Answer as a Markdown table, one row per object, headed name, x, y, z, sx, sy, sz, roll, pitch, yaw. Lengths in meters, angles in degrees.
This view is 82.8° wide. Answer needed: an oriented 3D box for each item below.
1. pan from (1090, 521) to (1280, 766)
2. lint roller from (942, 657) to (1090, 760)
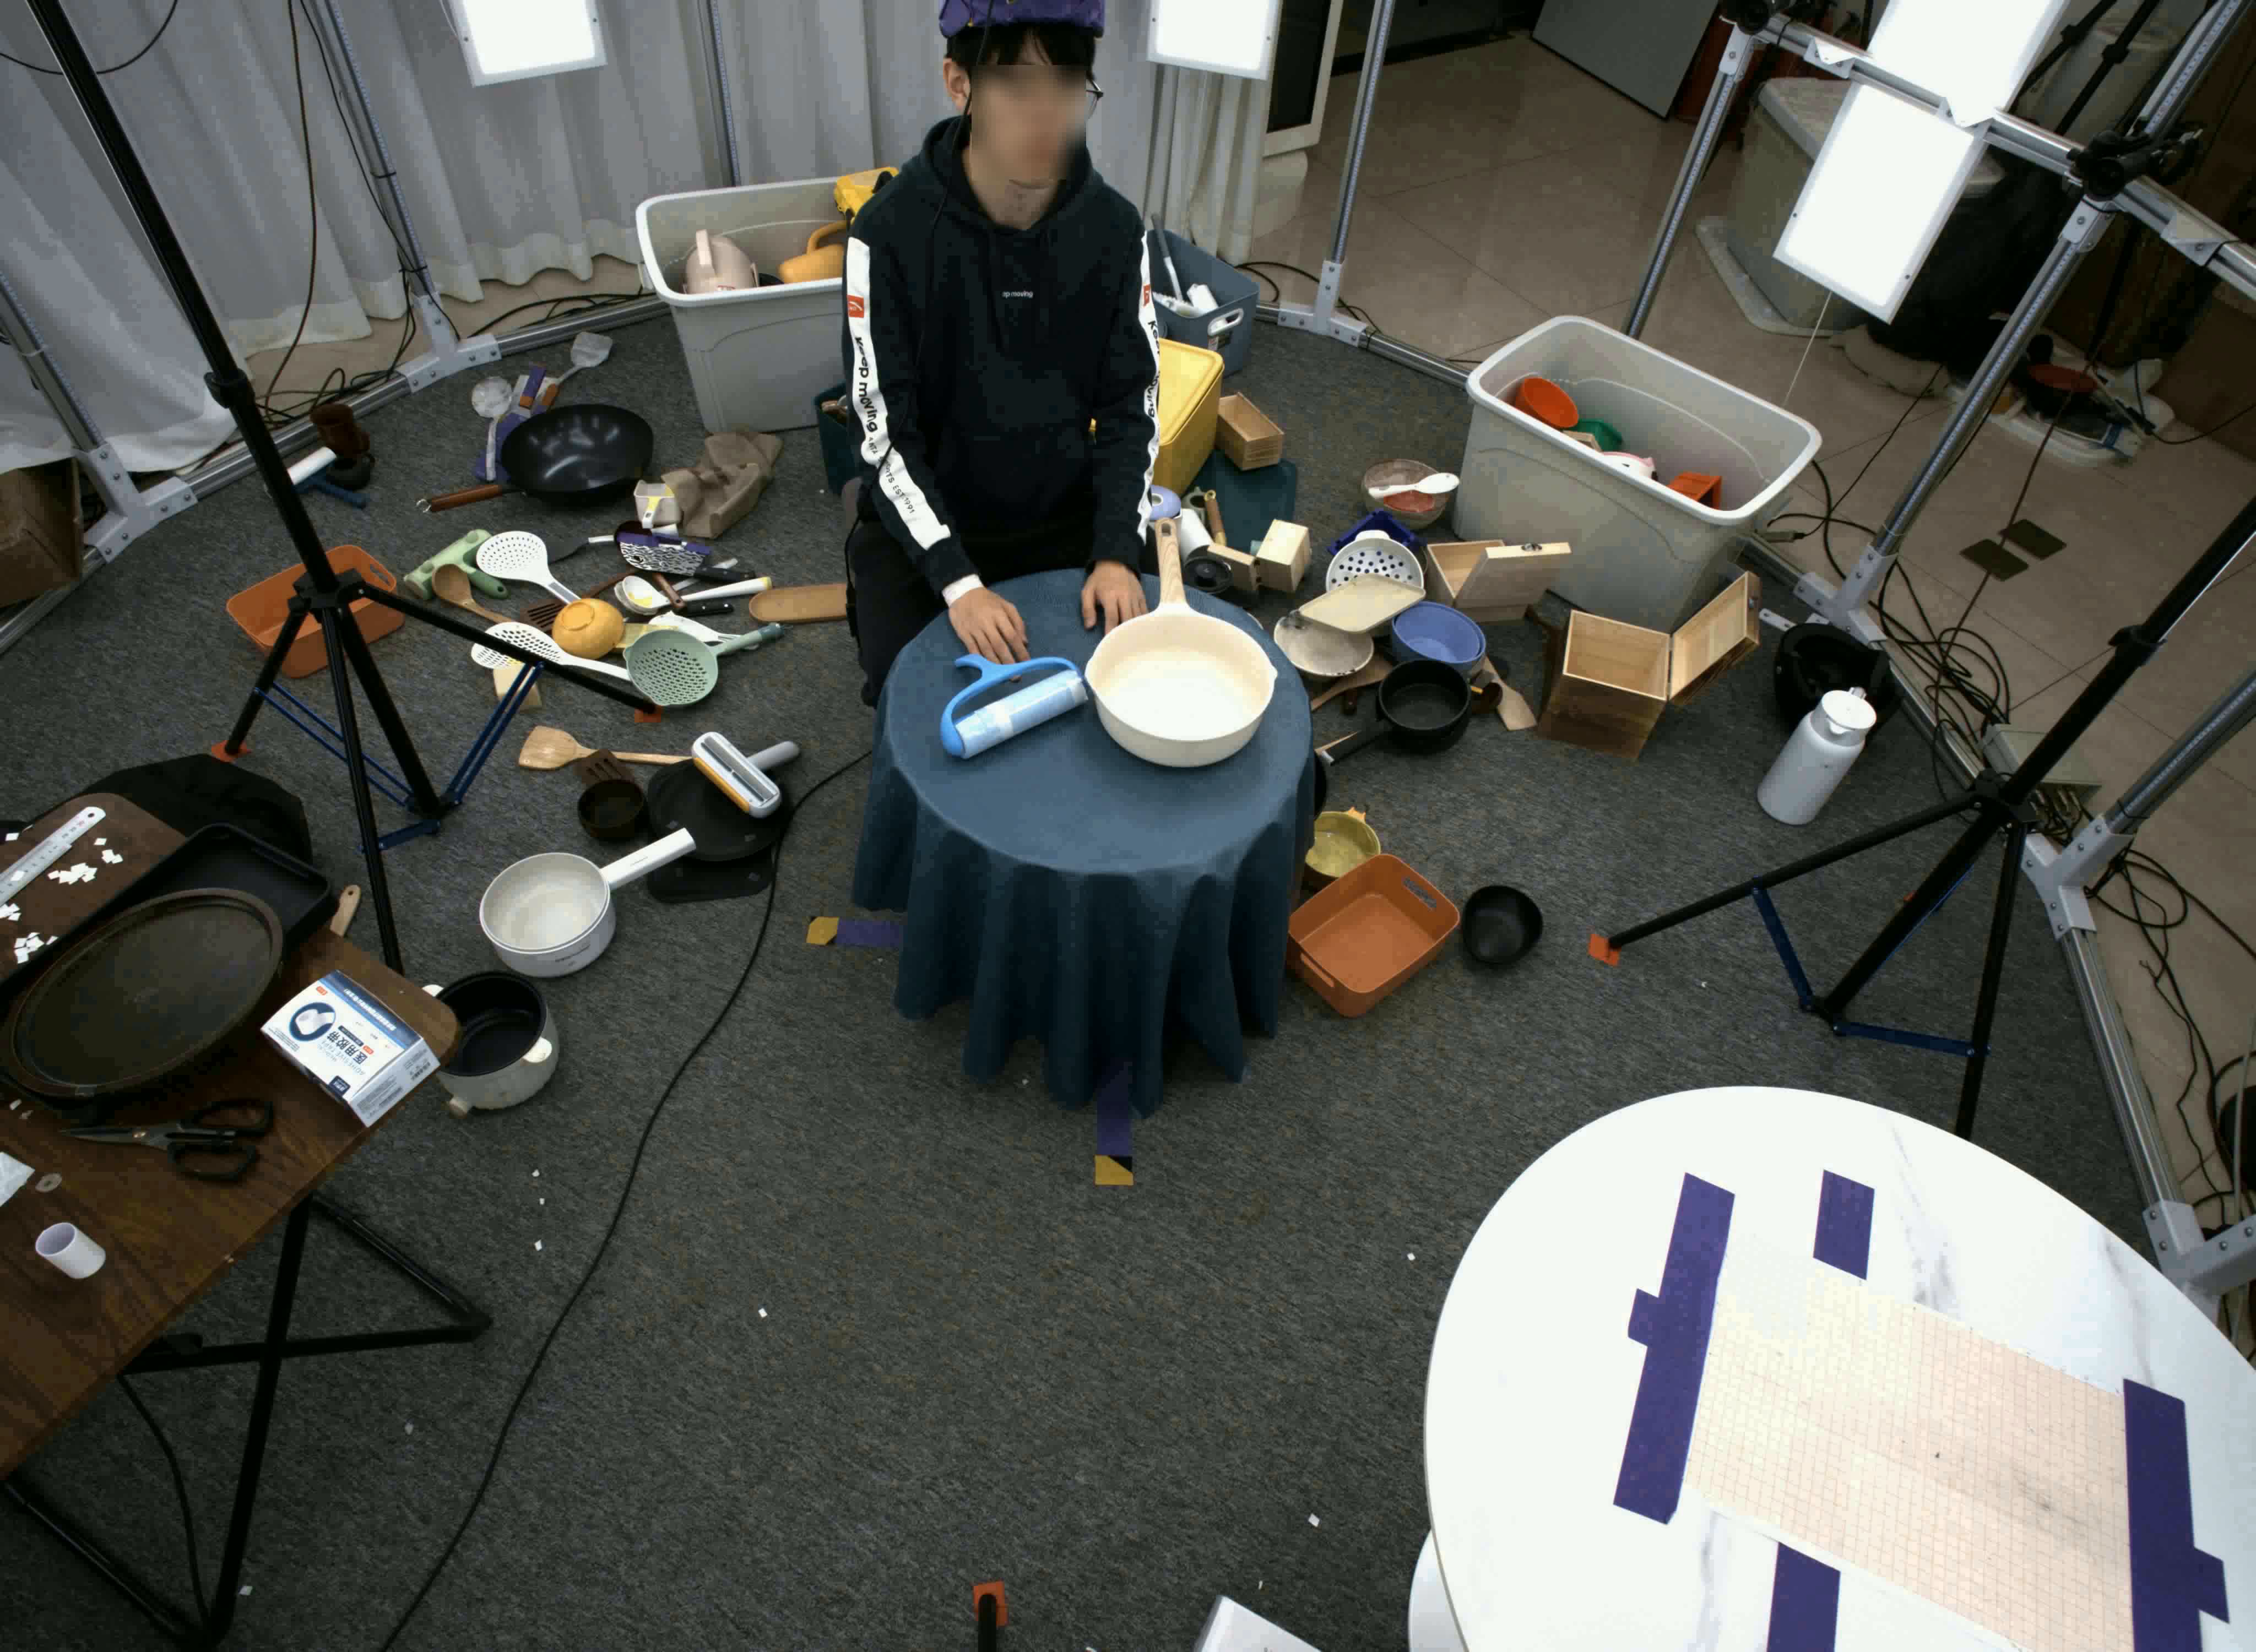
| name | x | y | z | sx | sy | sz | roll | pitch | yaw |
| --- | --- | --- | --- | --- | --- | --- | --- | --- | --- |
| pan | 0.070 | -0.261 | 1.834 | 0.263 | 0.099 | 0.446 | -3 | 49 | -4 |
| lint roller | -0.186 | -0.192 | 1.786 | 0.230 | 0.066 | 0.183 | -31 | 58 | -25 |
